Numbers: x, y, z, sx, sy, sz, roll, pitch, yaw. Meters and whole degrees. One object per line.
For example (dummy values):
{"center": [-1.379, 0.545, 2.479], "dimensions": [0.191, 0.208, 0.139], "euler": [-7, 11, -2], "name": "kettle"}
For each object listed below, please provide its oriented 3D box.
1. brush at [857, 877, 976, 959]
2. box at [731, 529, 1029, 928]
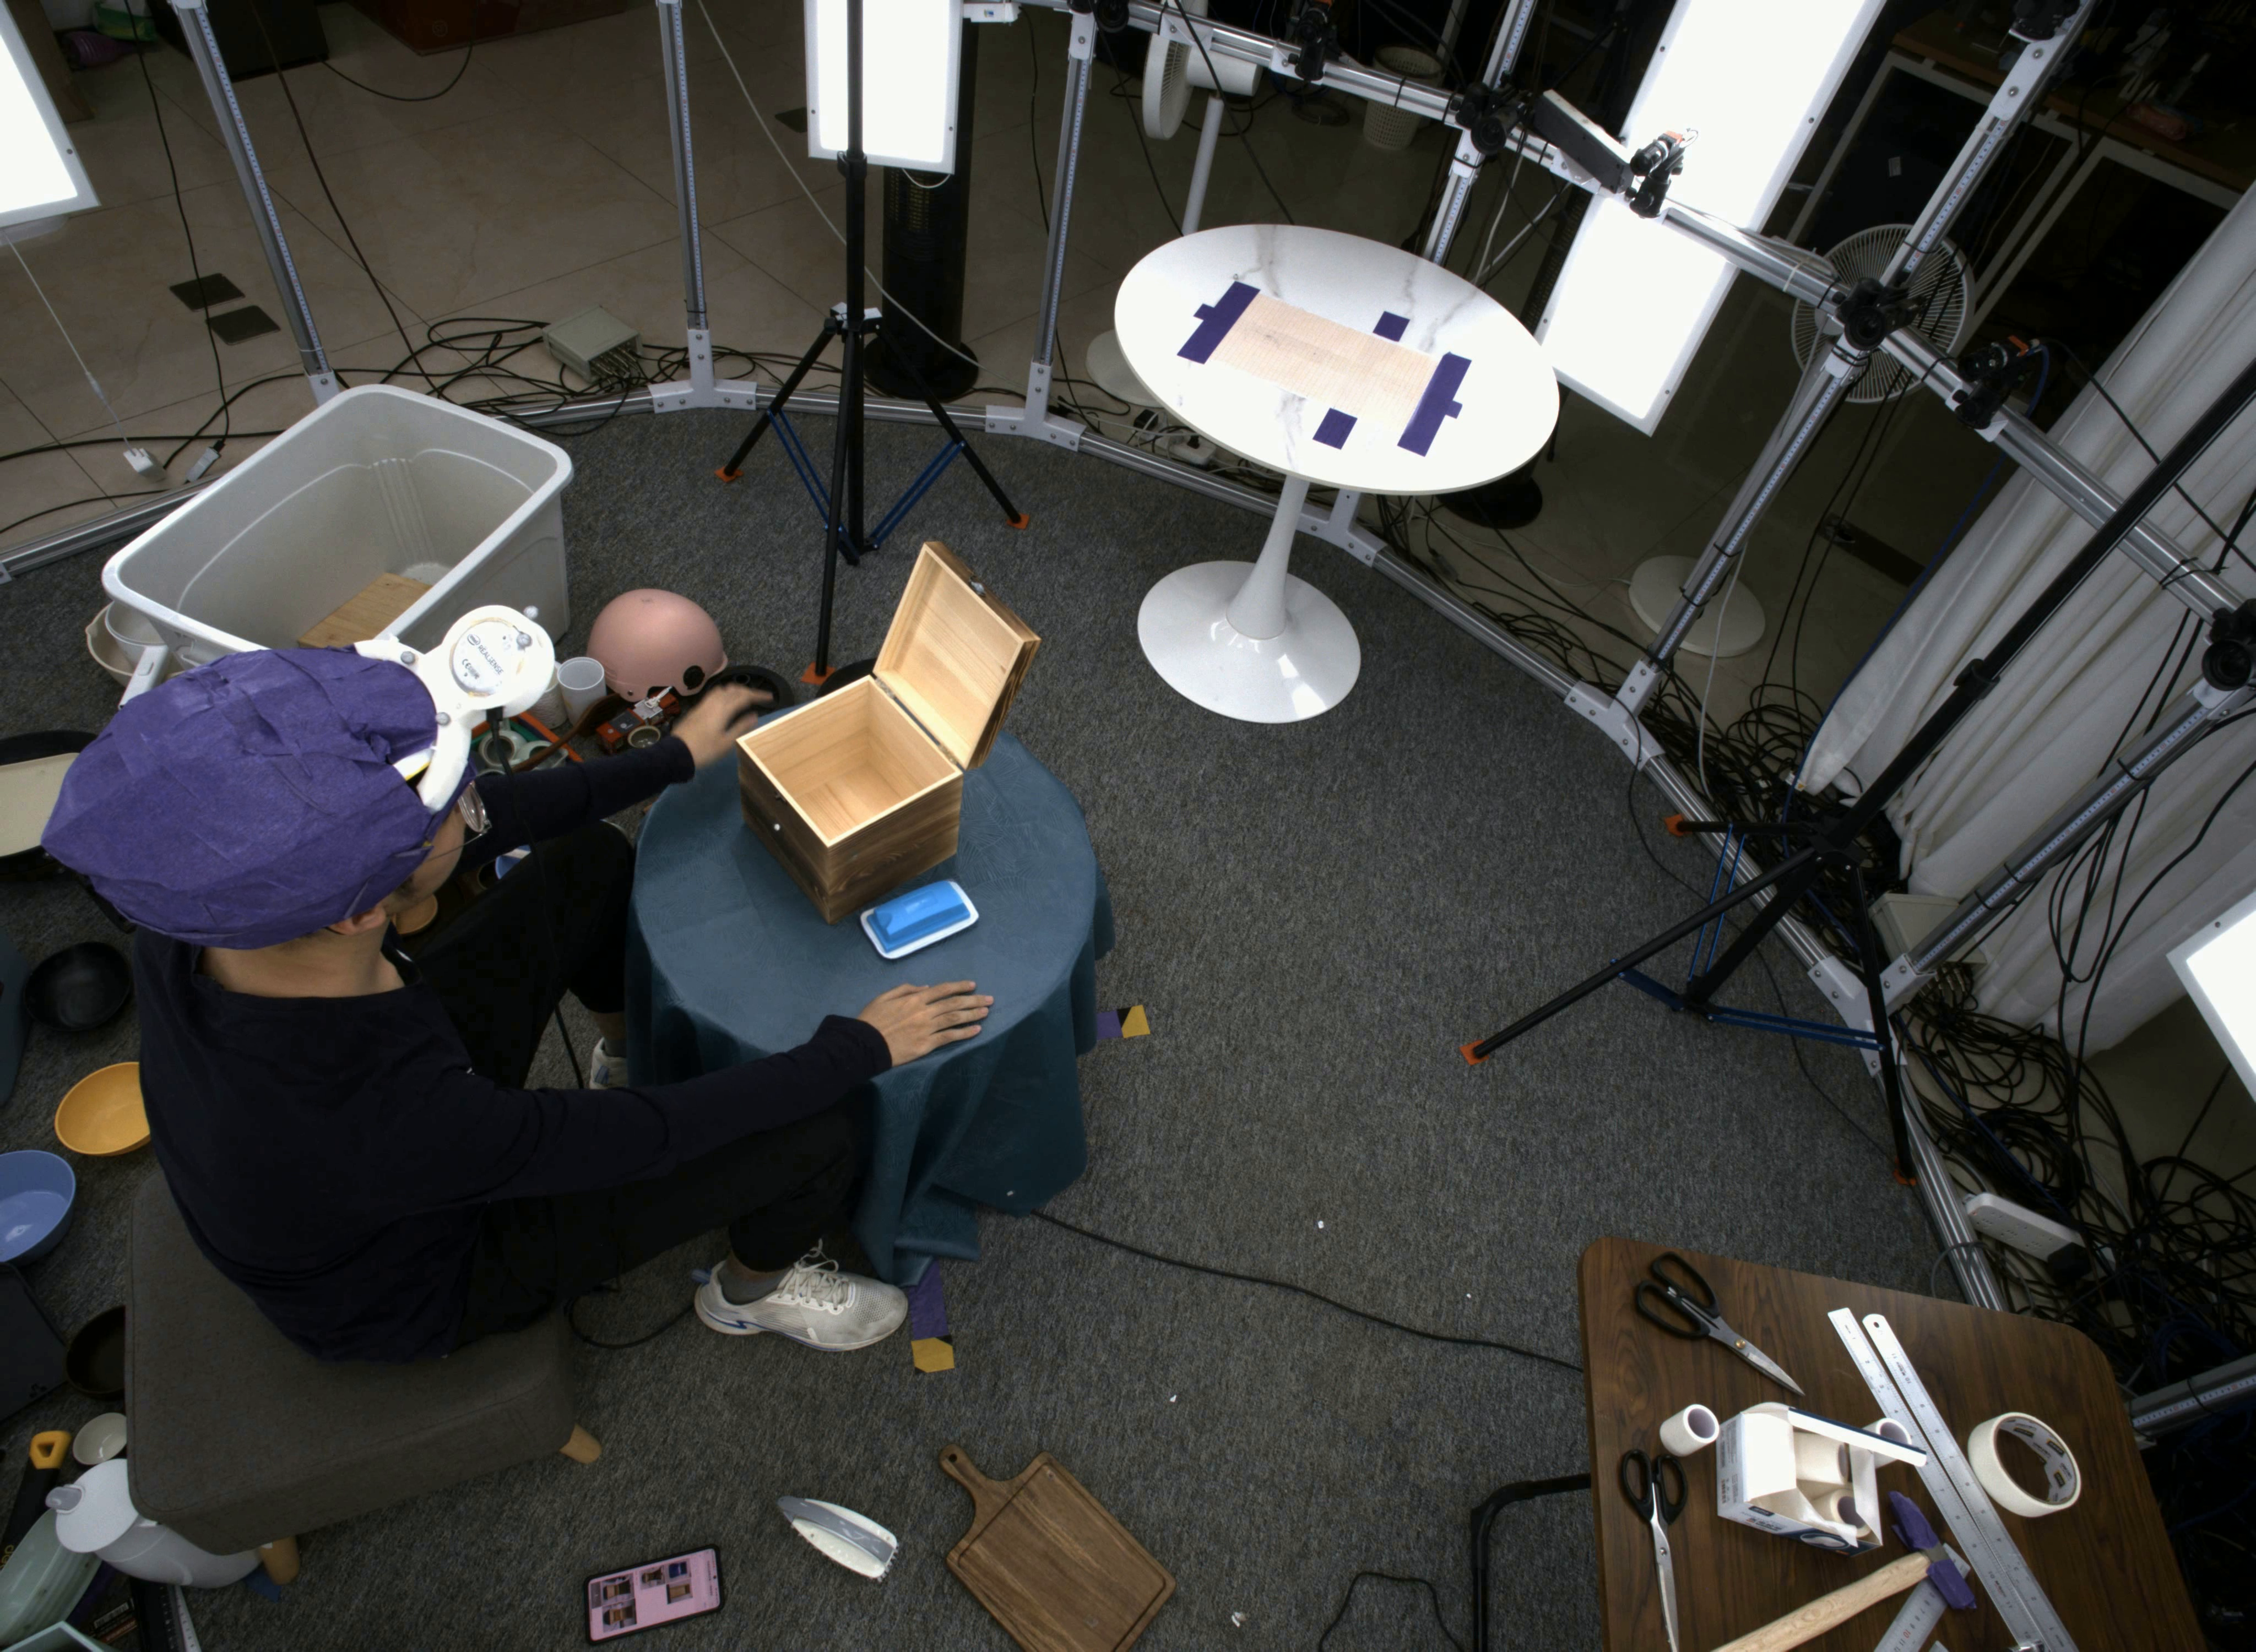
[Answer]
{"center": [-0.268, 0.107, 1.646], "dimensions": [0.145, 0.057, 0.081], "euler": [-20, 57, -28], "name": "brush"}
{"center": [-0.307, -0.121, 1.612], "dimensions": [0.323, 0.384, 0.203], "euler": [-33, 64, -31], "name": "box"}
